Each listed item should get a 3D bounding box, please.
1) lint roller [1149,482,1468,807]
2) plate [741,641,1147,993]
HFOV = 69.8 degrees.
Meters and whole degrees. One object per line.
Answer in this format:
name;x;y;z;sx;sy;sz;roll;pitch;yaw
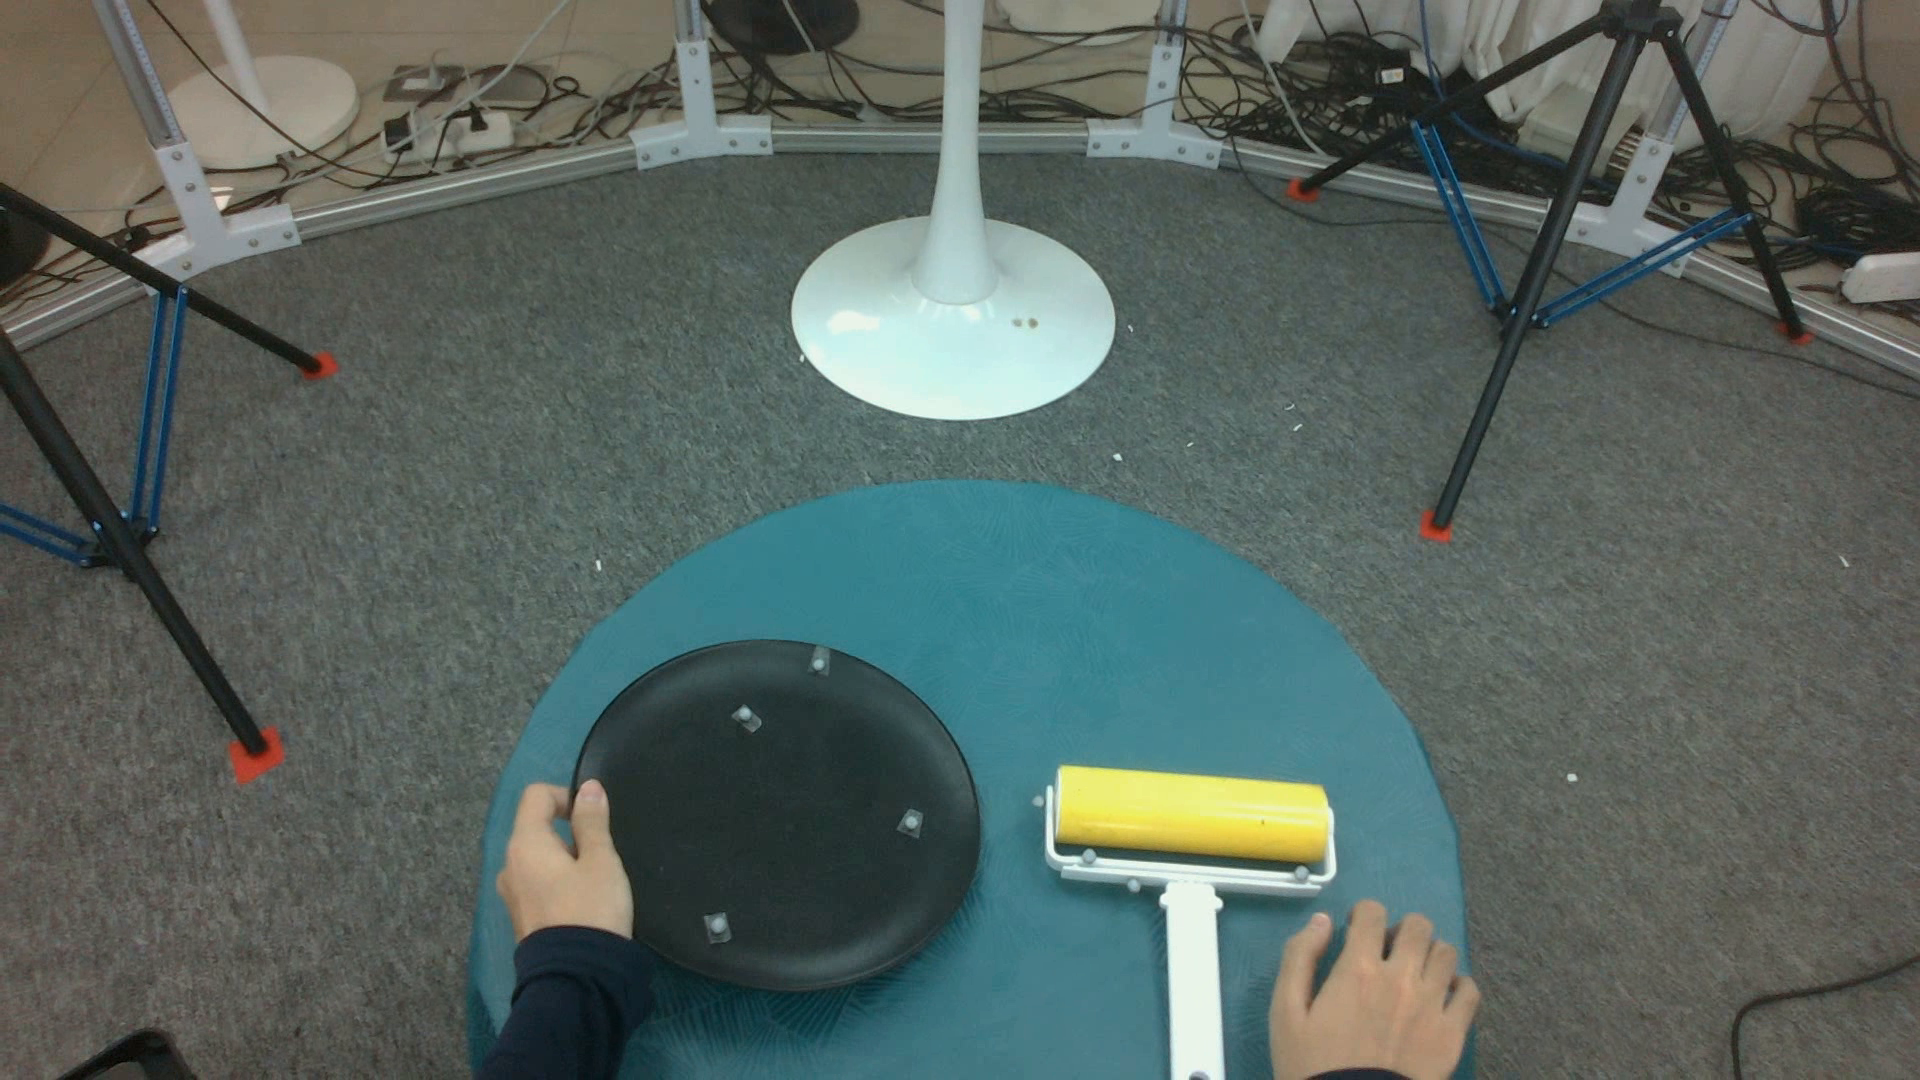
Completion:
lint roller;0.227;0.072;0.802;0.174;0.051;0.192;-32;47;-1
plate;-0.010;0.159;0.825;0.244;0.023;0.245;-6;45;6
